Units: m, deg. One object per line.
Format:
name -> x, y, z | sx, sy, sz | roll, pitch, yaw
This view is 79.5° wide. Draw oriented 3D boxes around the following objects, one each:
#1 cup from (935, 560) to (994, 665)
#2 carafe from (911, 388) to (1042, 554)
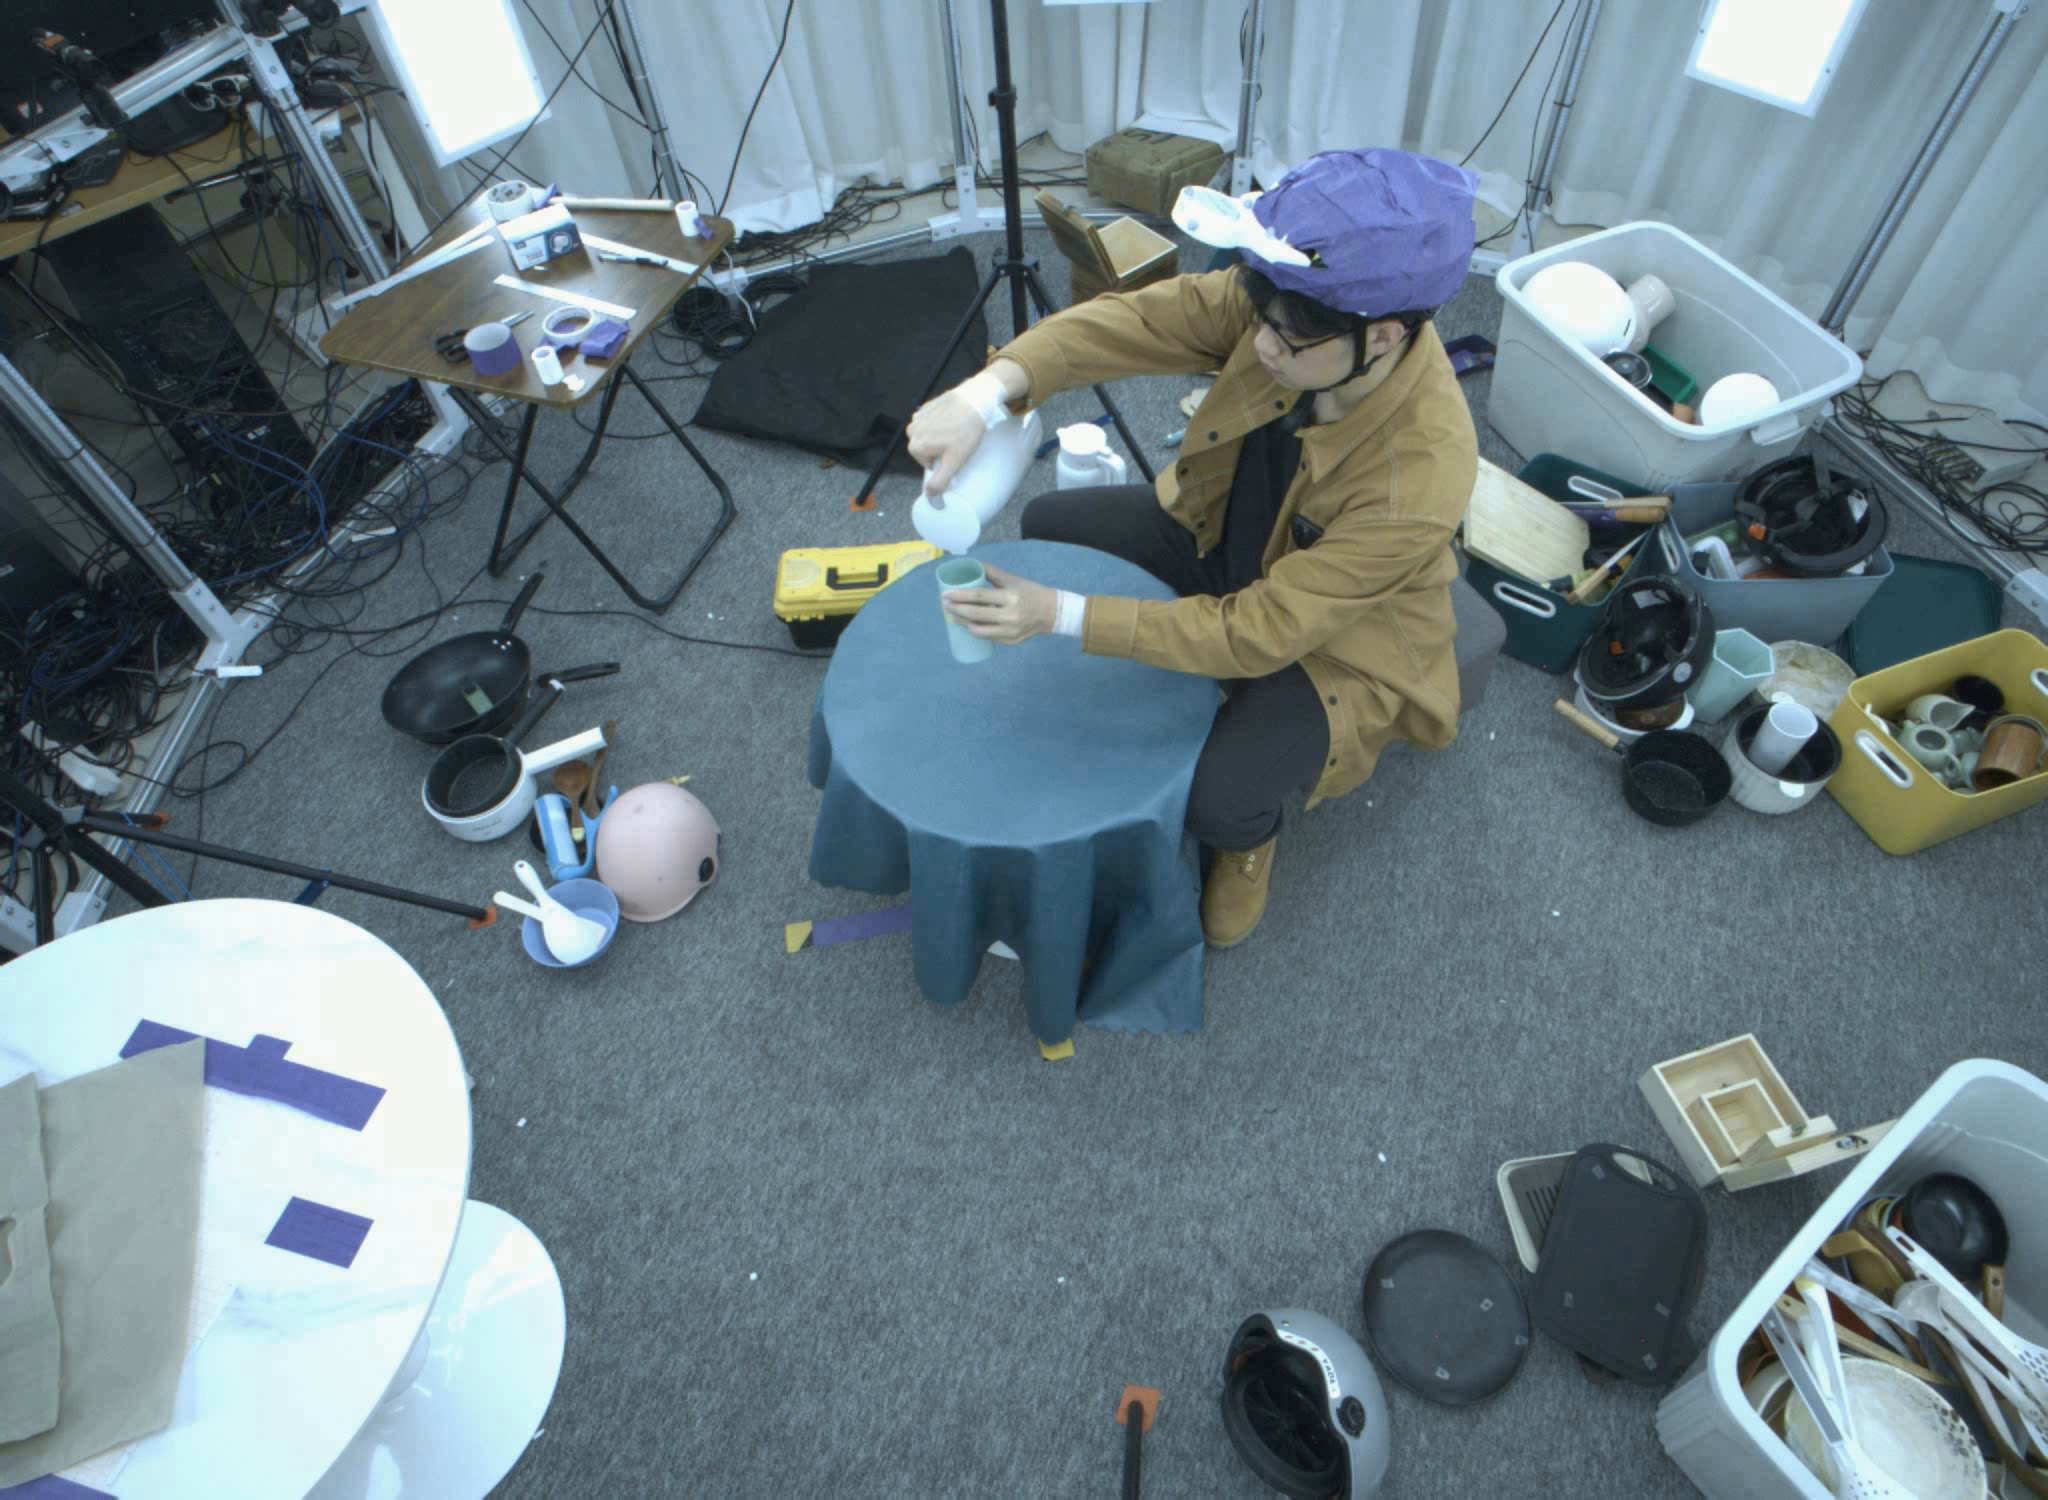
cup -> -0.079, -0.186, 1.658 | 0.066, 0.134, 0.066 | -4, 44, 5
carafe -> -0.076, -0.385, 1.608 | 0.131, 0.170, 0.248 | 4, 46, 18
